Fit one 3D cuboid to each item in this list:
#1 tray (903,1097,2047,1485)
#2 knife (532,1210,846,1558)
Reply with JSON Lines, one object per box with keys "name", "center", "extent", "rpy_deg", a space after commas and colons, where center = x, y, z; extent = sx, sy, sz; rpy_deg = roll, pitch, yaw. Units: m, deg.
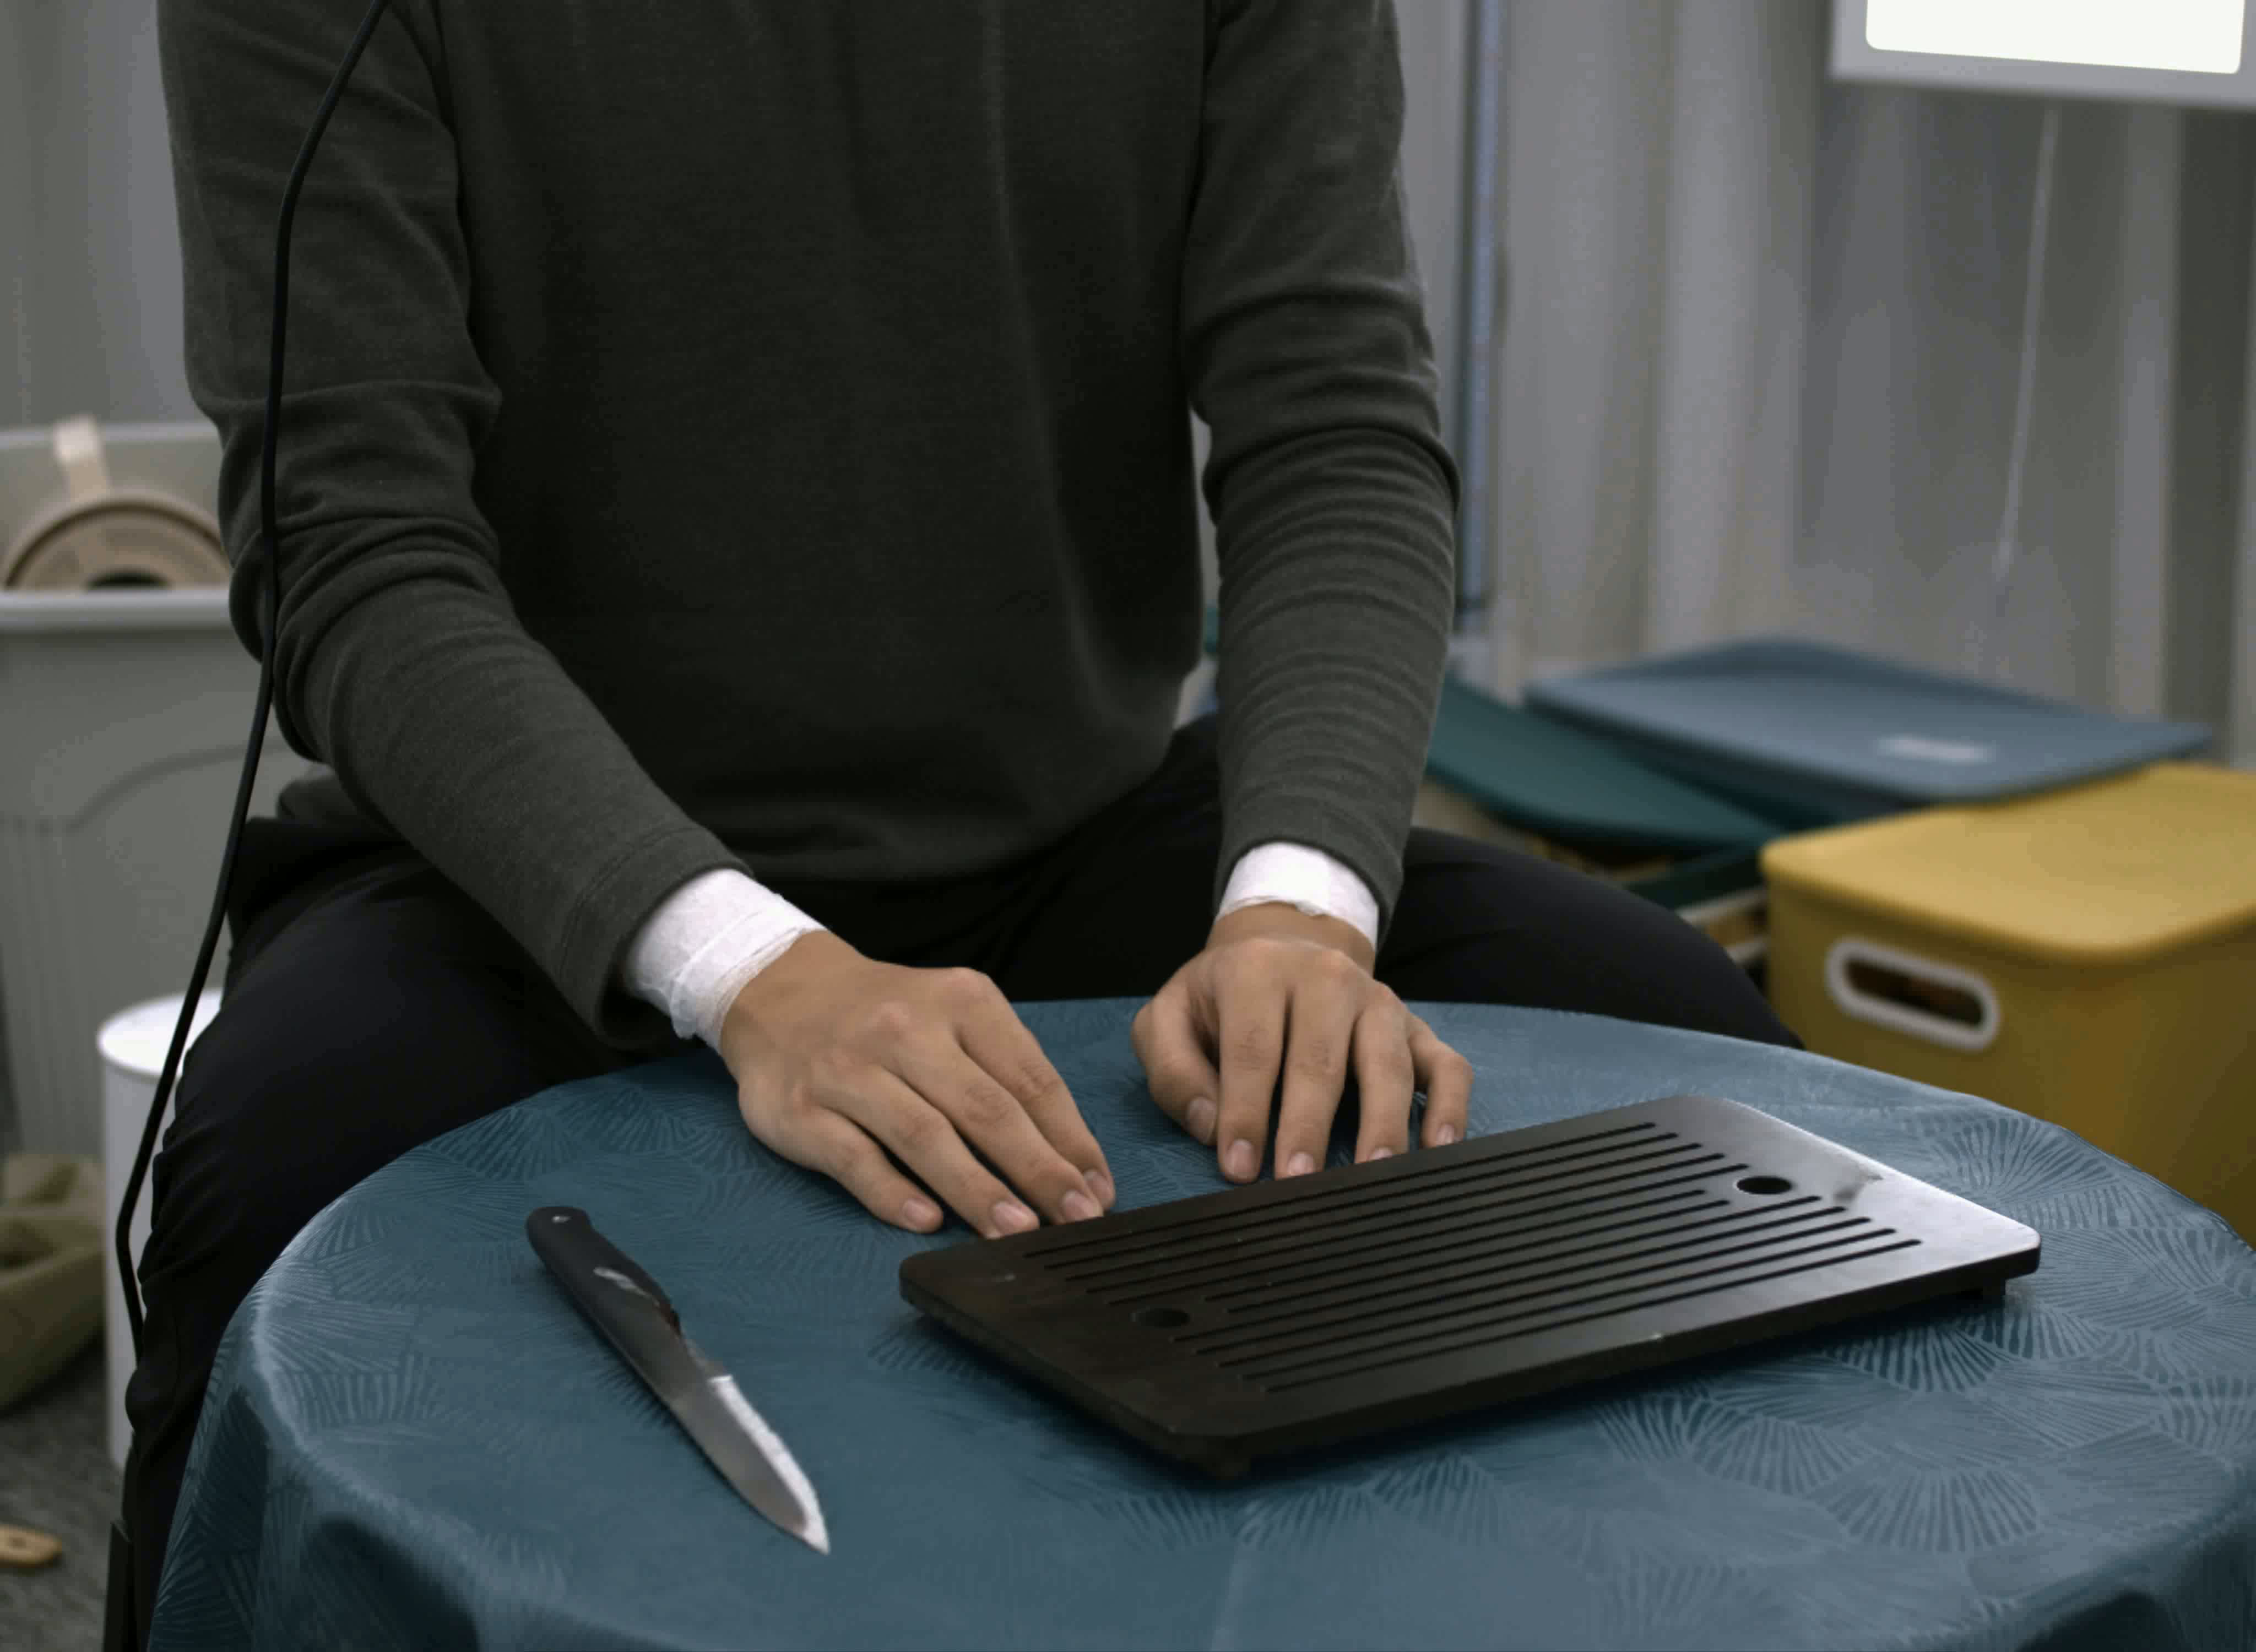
{"name": "tray", "center": [0.102, 0.131, 1.527], "extent": [0.307, 0.019, 0.168], "rpy_deg": [-9, 18, -32]}
{"name": "knife", "center": [-0.123, 0.153, 1.451], "extent": [0.024, 0.016, 0.235], "rpy_deg": [-9, 20, -22]}
